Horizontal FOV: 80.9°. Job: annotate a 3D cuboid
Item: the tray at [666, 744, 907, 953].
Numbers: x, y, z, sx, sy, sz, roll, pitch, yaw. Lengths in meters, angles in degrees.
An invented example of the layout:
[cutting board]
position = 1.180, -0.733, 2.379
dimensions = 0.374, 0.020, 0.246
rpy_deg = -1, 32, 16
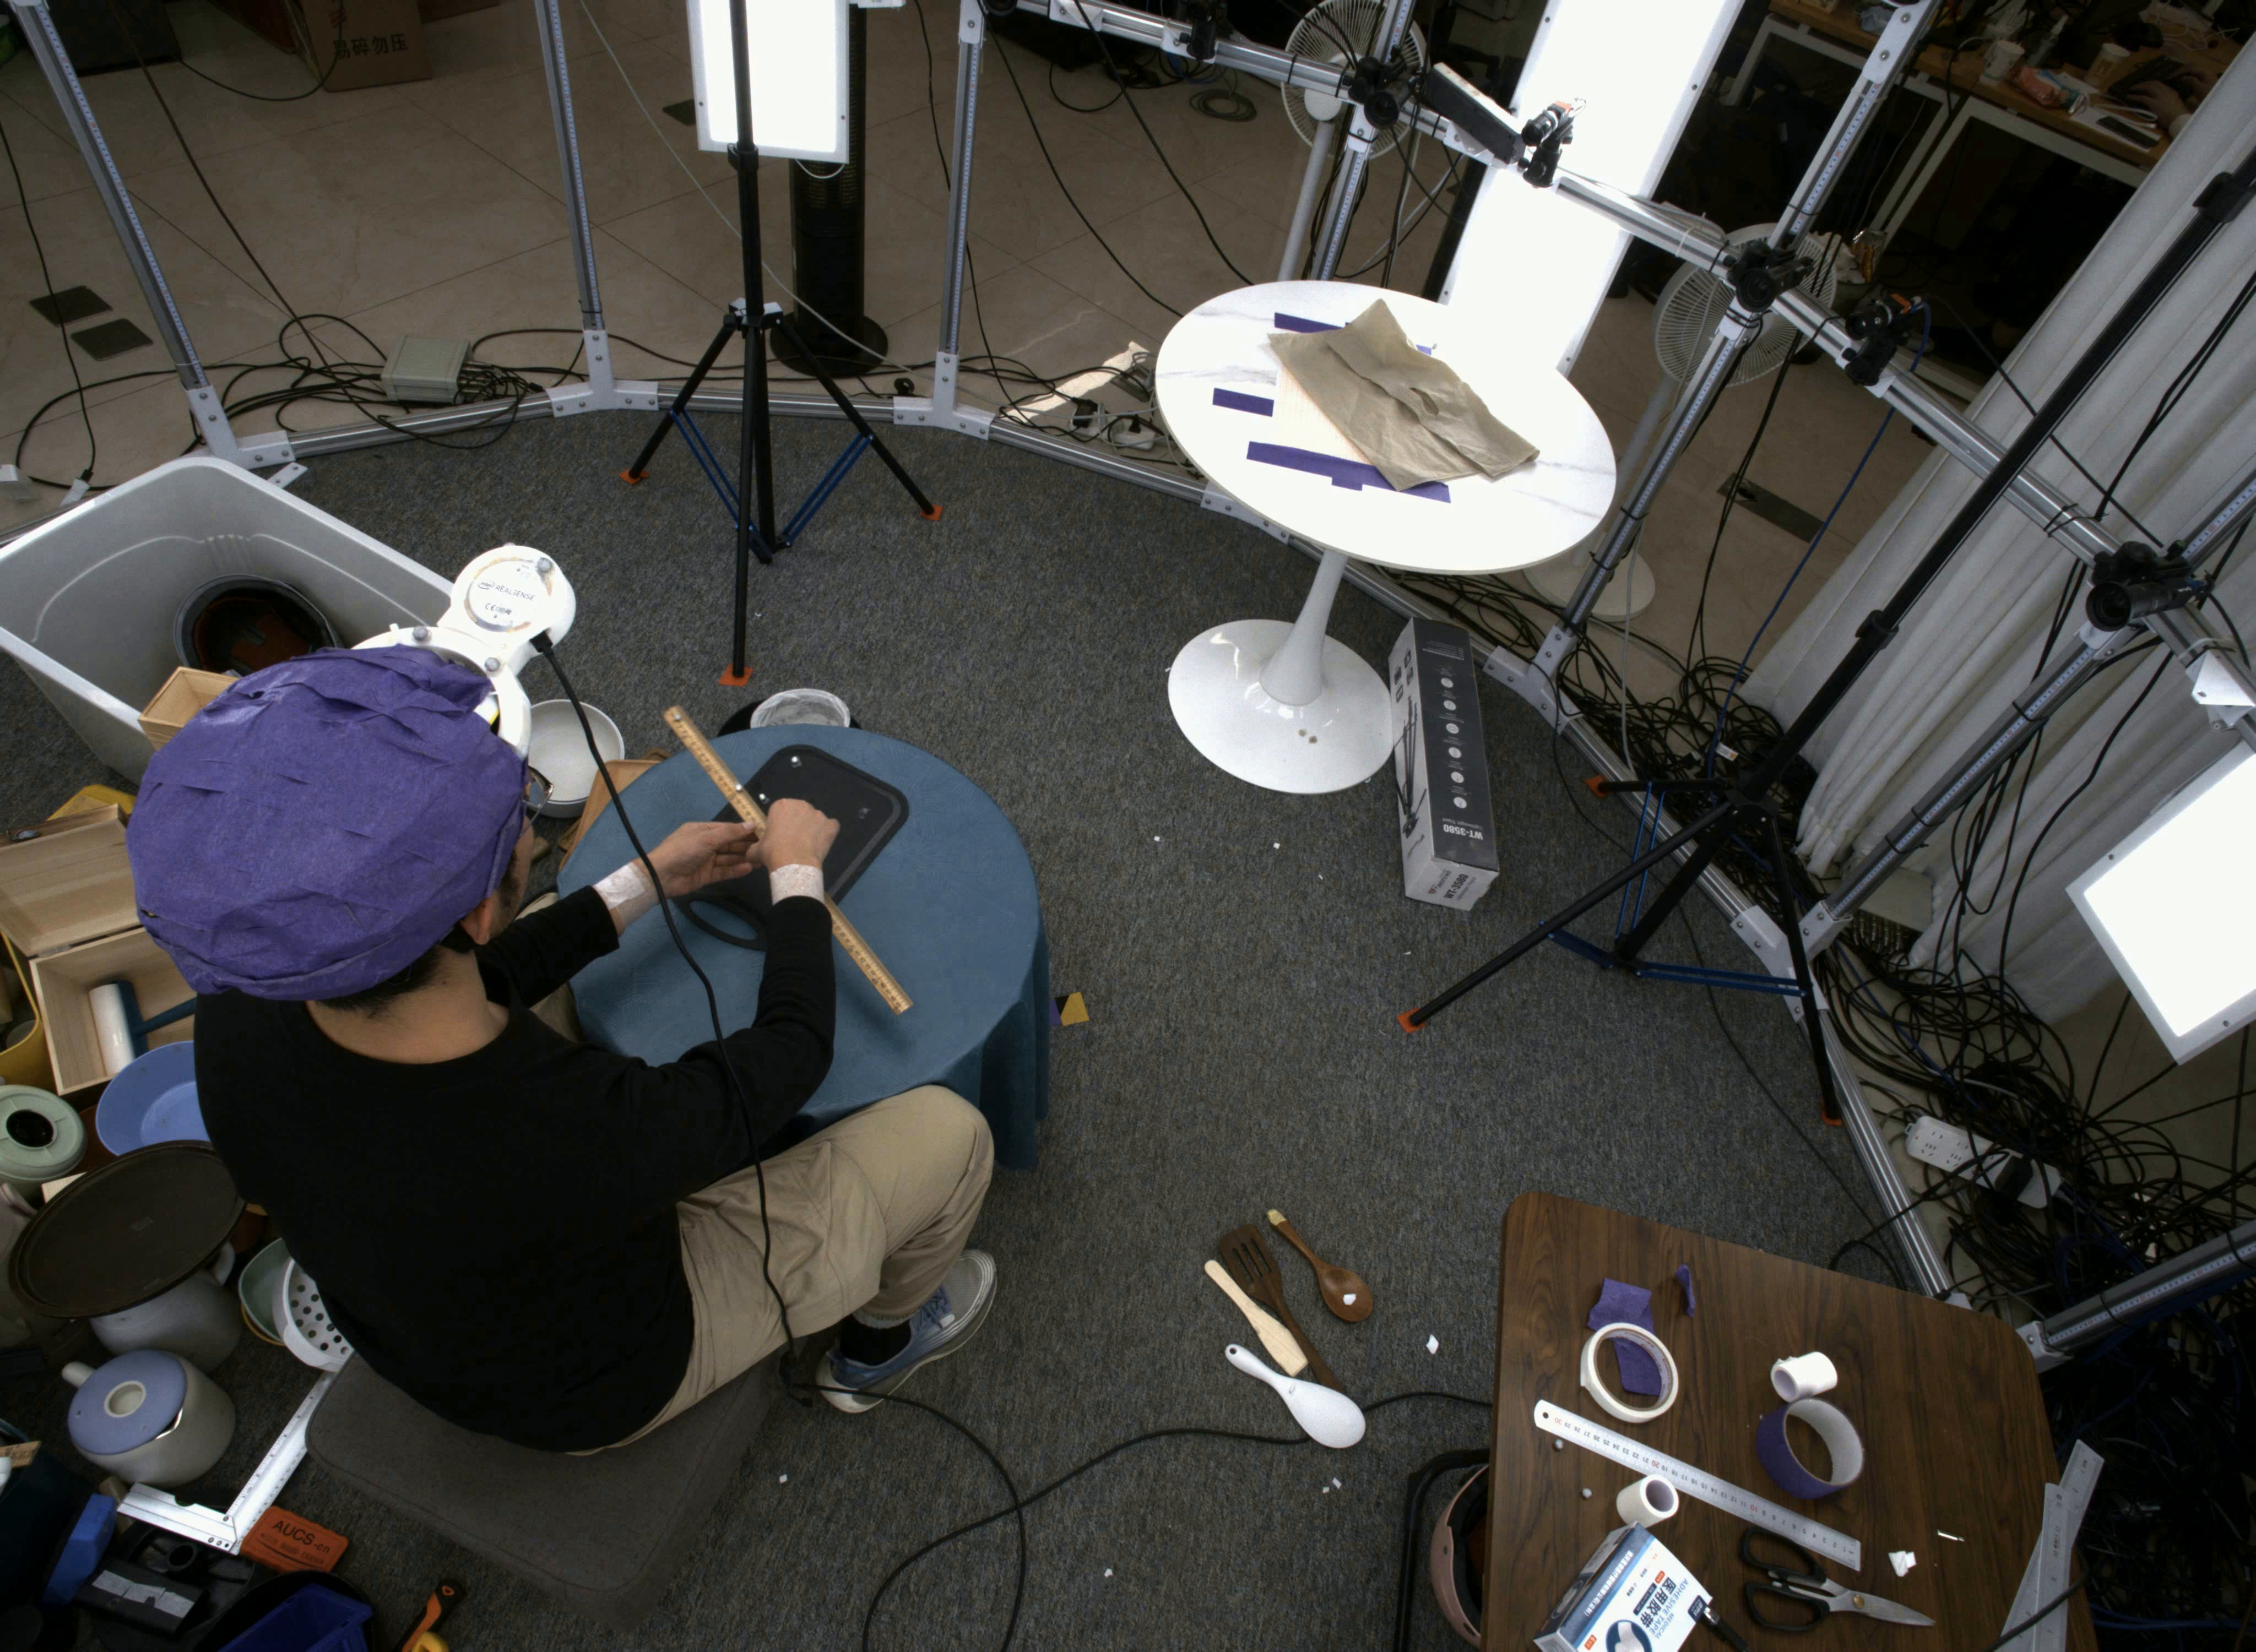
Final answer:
[tray]
position = -0.445, 0.025, 1.690
dimensions = 0.208, 0.010, 0.324
rpy_deg = 28, 52, 7

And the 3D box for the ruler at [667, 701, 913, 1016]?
[ruler]
position = -0.420, 0.032, 1.577
dimensions = 0.027, 0.006, 0.494
rpy_deg = -34, 77, -29
